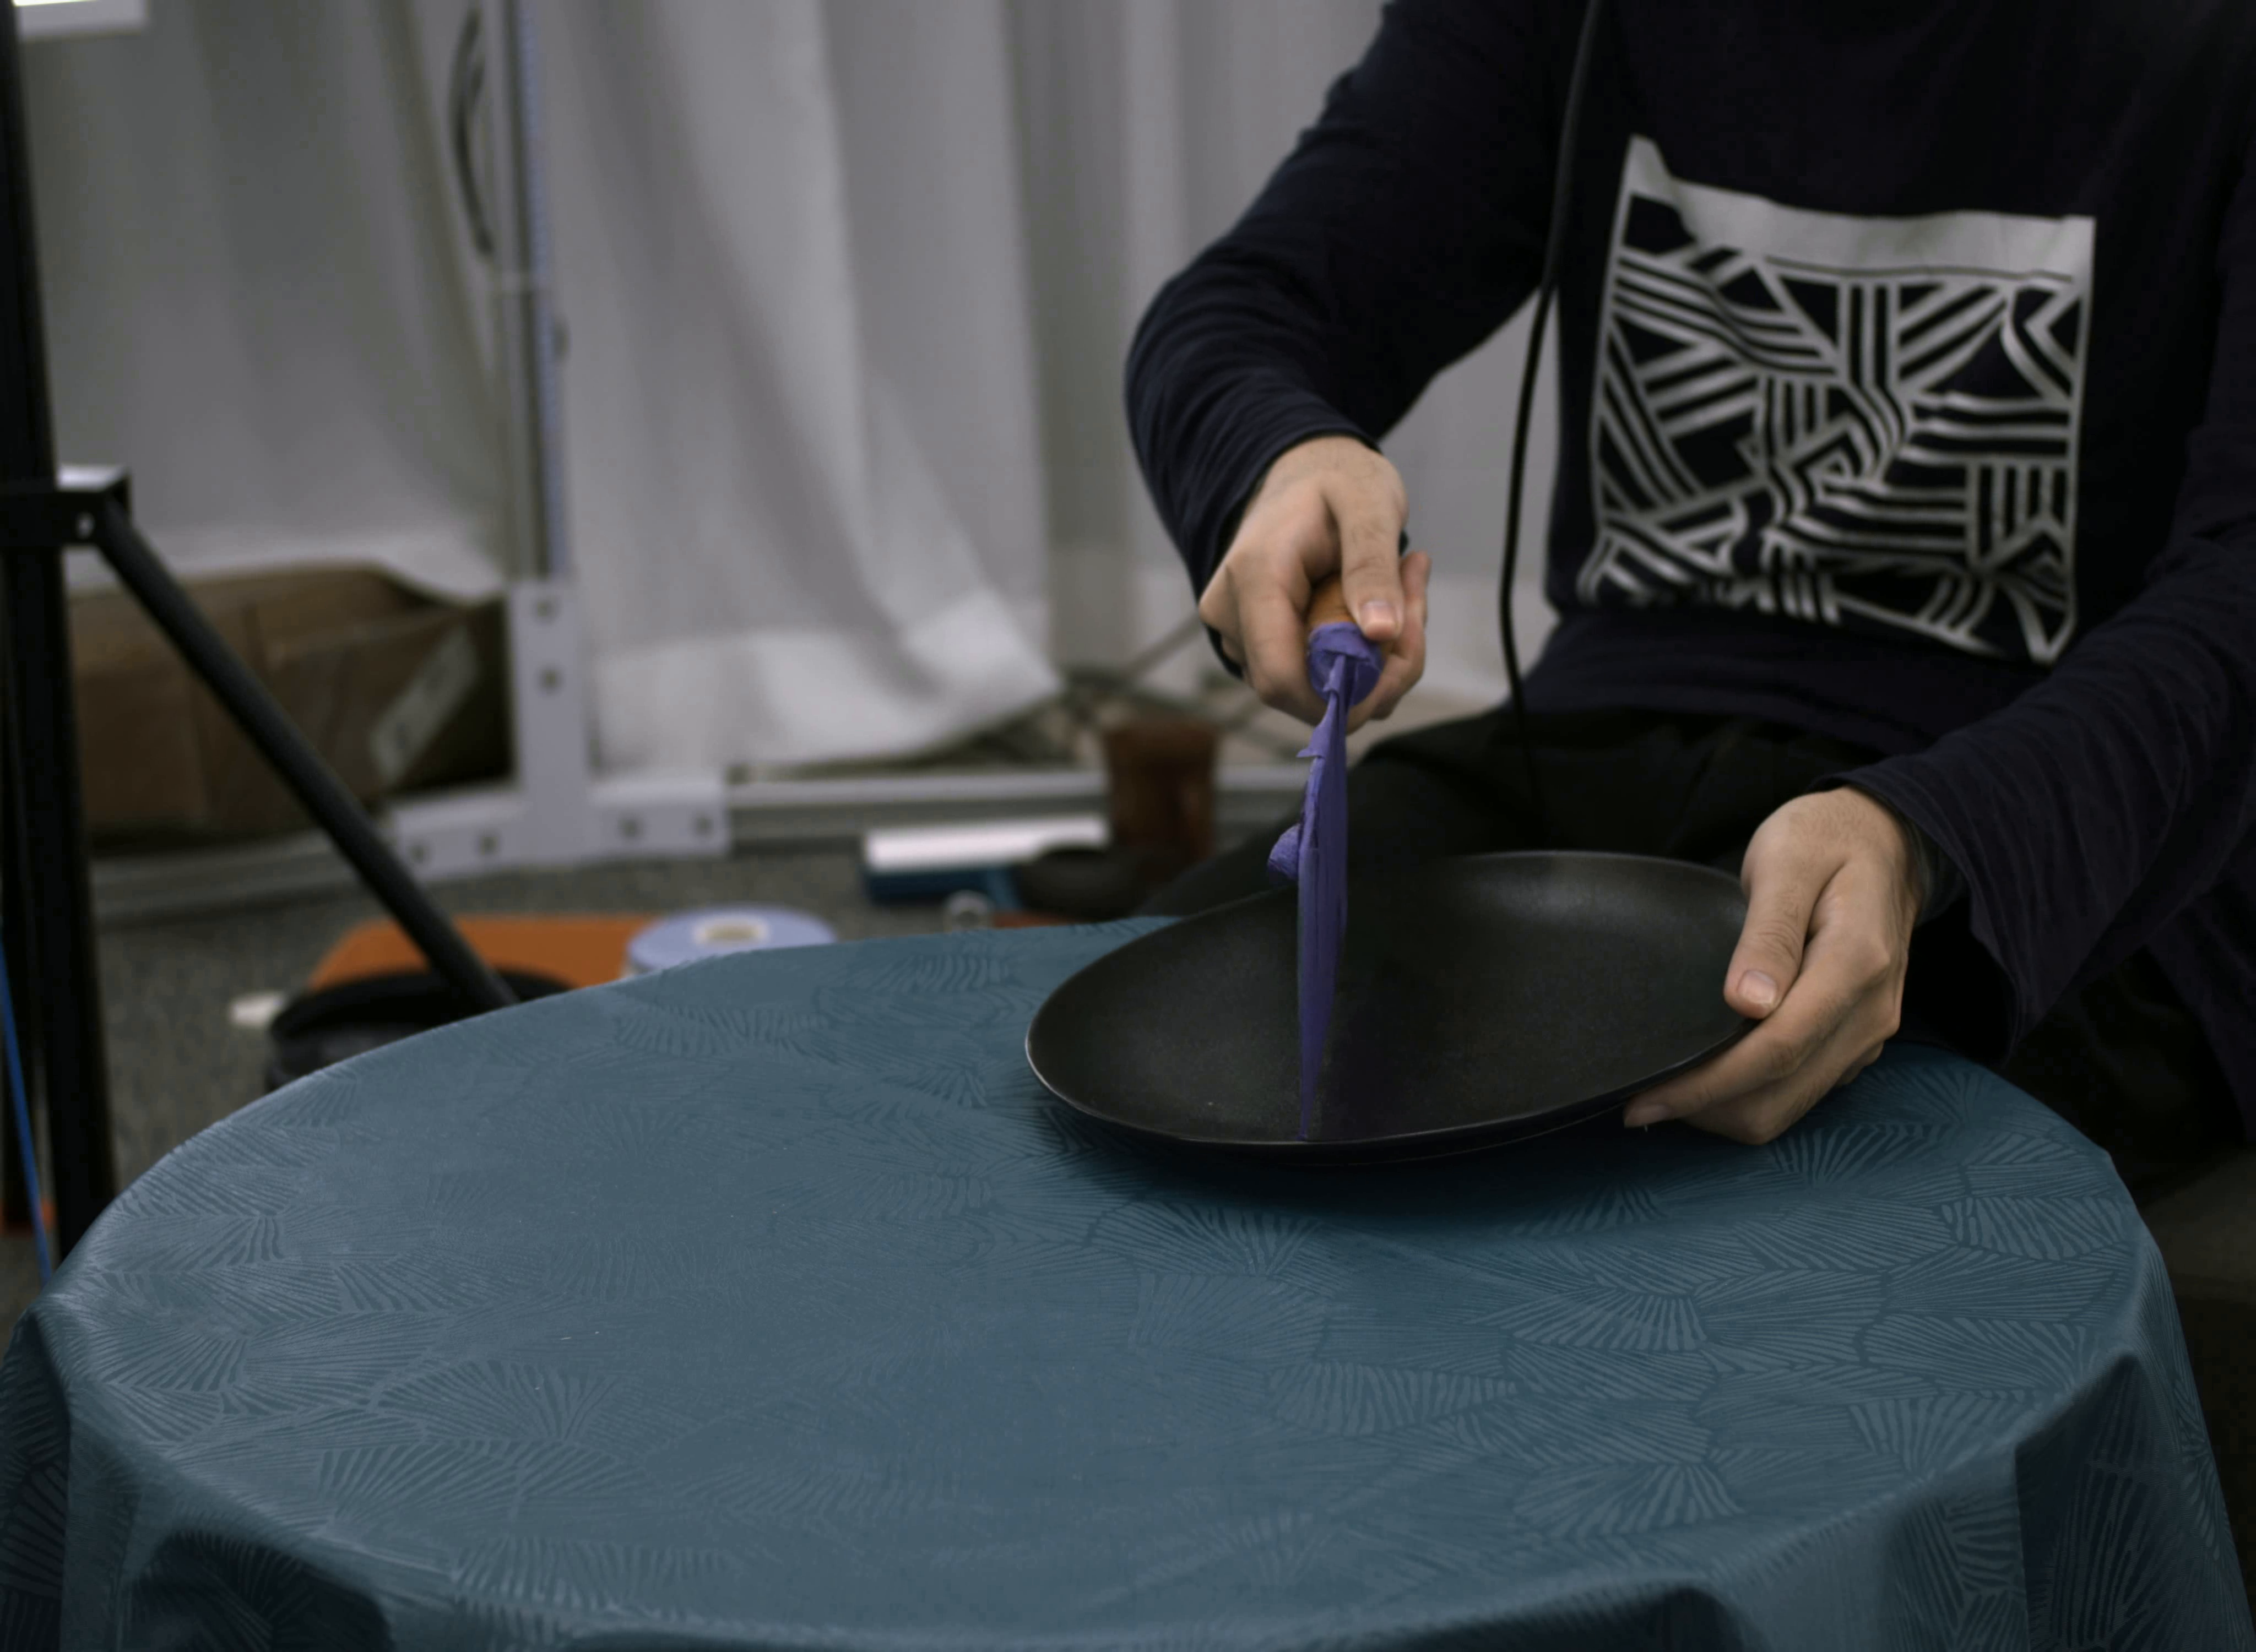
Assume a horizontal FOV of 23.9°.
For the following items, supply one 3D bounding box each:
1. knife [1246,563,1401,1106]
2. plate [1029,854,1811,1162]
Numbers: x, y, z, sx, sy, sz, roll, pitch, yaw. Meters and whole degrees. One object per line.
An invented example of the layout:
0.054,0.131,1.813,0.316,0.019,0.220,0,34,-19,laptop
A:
0.059,0.000,1.664,0.032,0.104,0.314,3,18,7,knife
0.090,0.059,1.637,0.243,0.023,0.246,-10,16,1,plate
